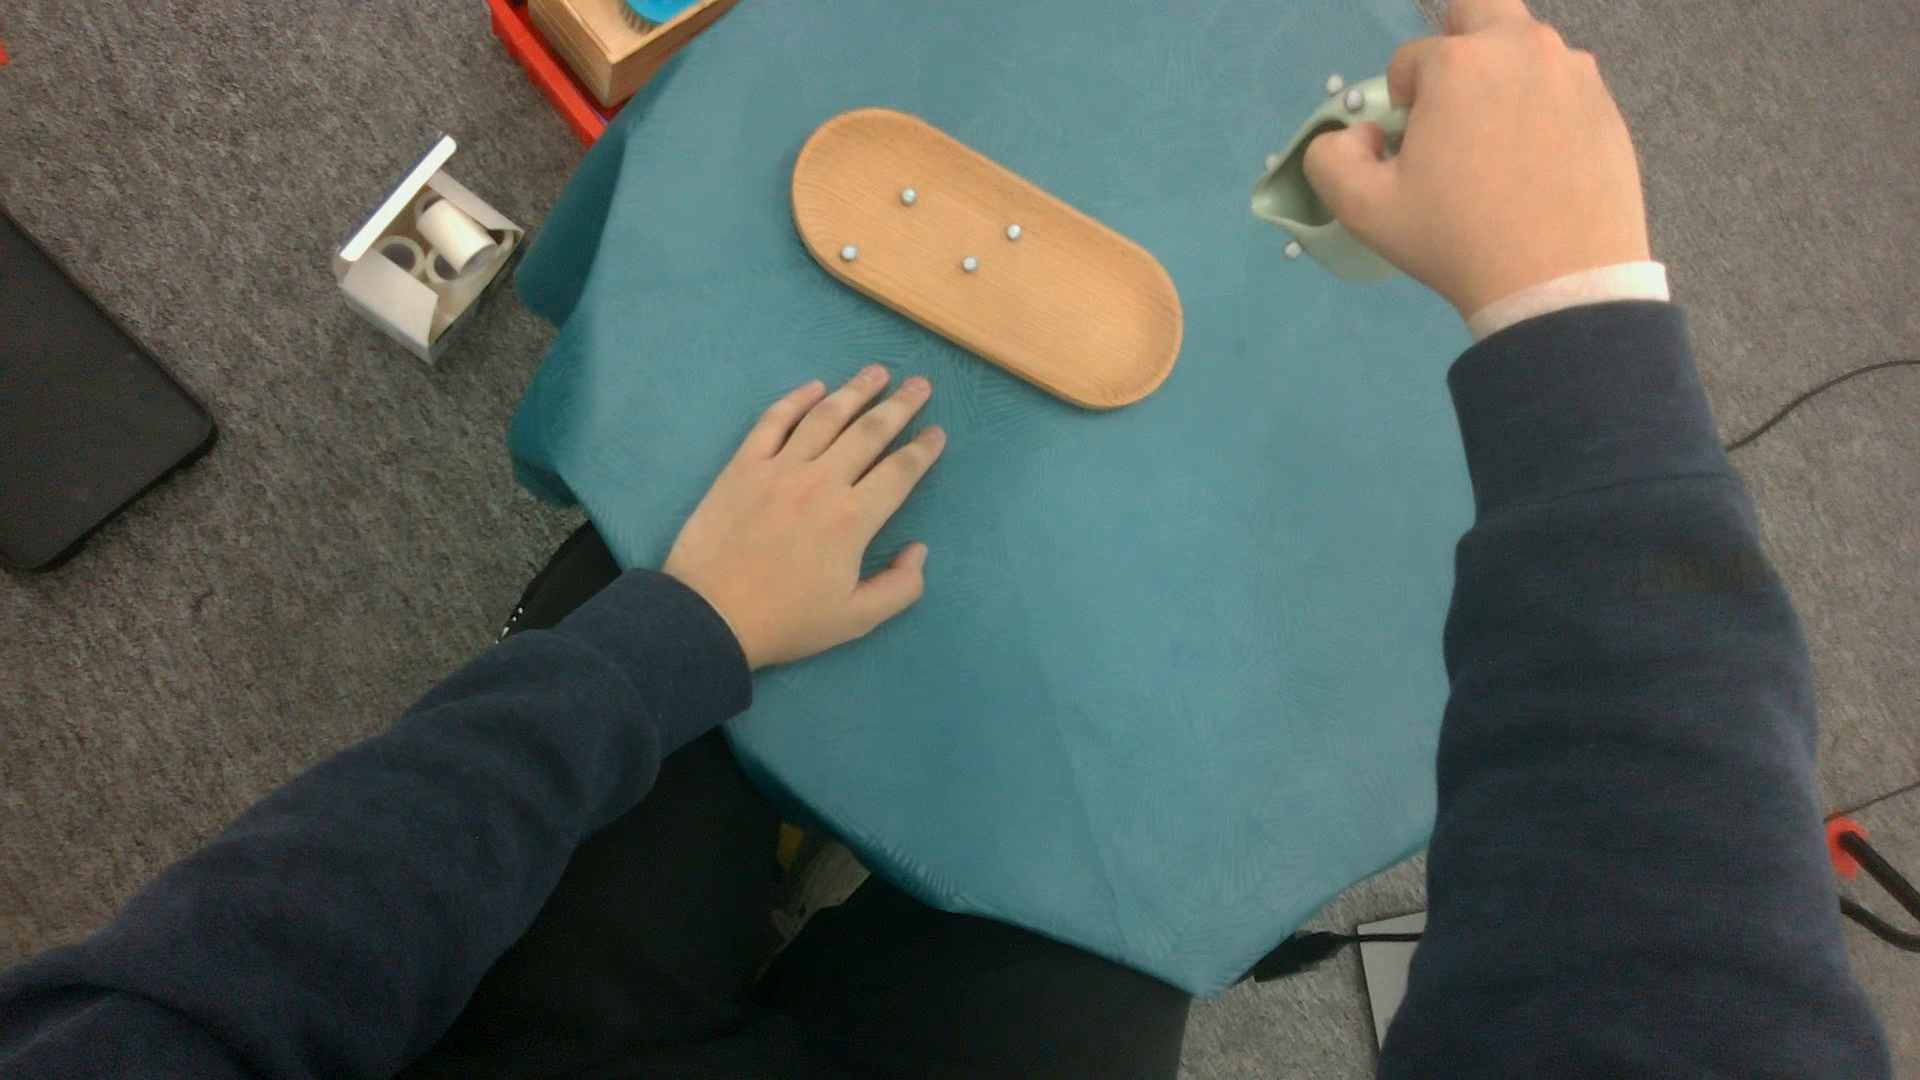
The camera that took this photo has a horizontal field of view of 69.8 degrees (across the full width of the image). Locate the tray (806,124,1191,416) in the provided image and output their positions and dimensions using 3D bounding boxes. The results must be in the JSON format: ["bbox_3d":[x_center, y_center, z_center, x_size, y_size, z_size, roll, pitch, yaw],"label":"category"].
[{"bbox_3d":[0.024,-0.147,0.759,0.231,0.020,0.102,26,75,-12],"label":"tray"}]

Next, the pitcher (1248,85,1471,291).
[{"bbox_3d":[0.176,-0.153,0.581,0.060,0.107,0.086,1,81,-25],"label":"pitcher"}]
